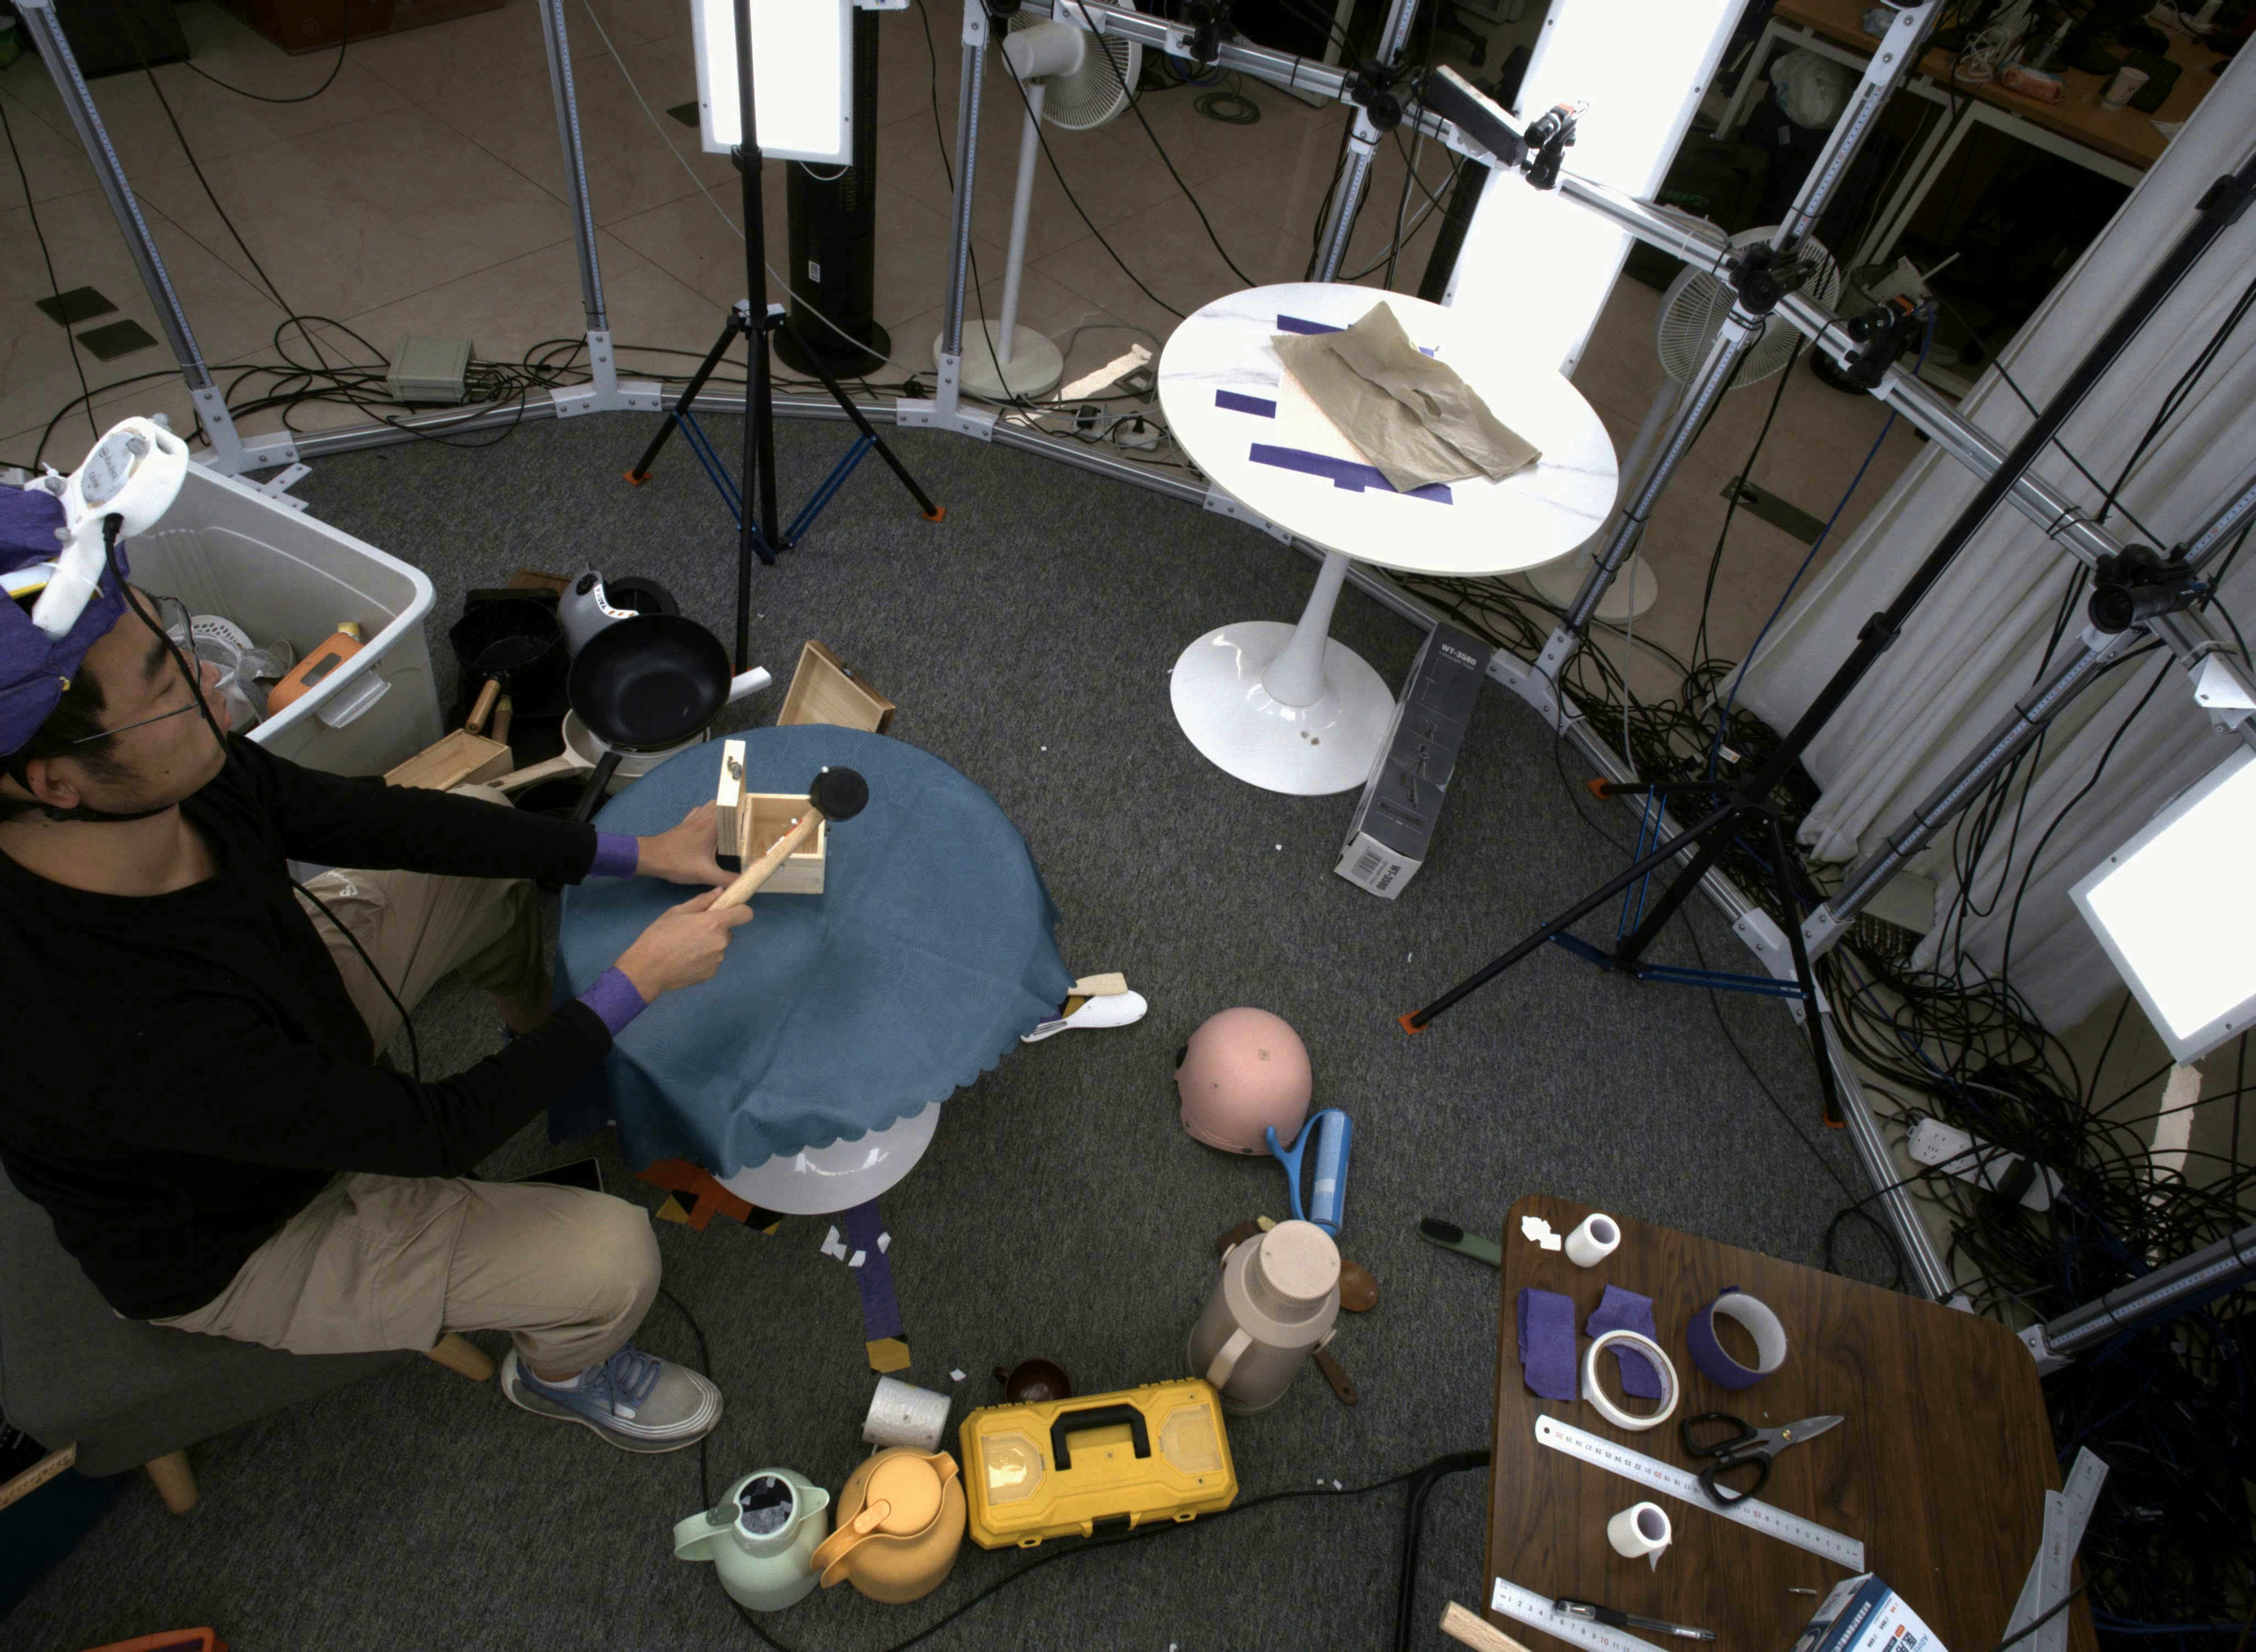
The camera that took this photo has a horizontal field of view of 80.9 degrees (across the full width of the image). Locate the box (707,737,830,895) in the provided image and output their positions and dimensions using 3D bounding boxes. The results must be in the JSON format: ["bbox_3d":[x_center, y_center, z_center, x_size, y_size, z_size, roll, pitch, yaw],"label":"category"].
[{"bbox_3d":[-0.441,-0.011,1.609,0.133,0.189,0.100,-1,52,-9],"label":"box"}]

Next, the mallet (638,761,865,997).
[{"bbox_3d":[-0.431,0.051,1.461,0.339,0.100,0.065,-44,100,-13],"label":"mallet"}]
